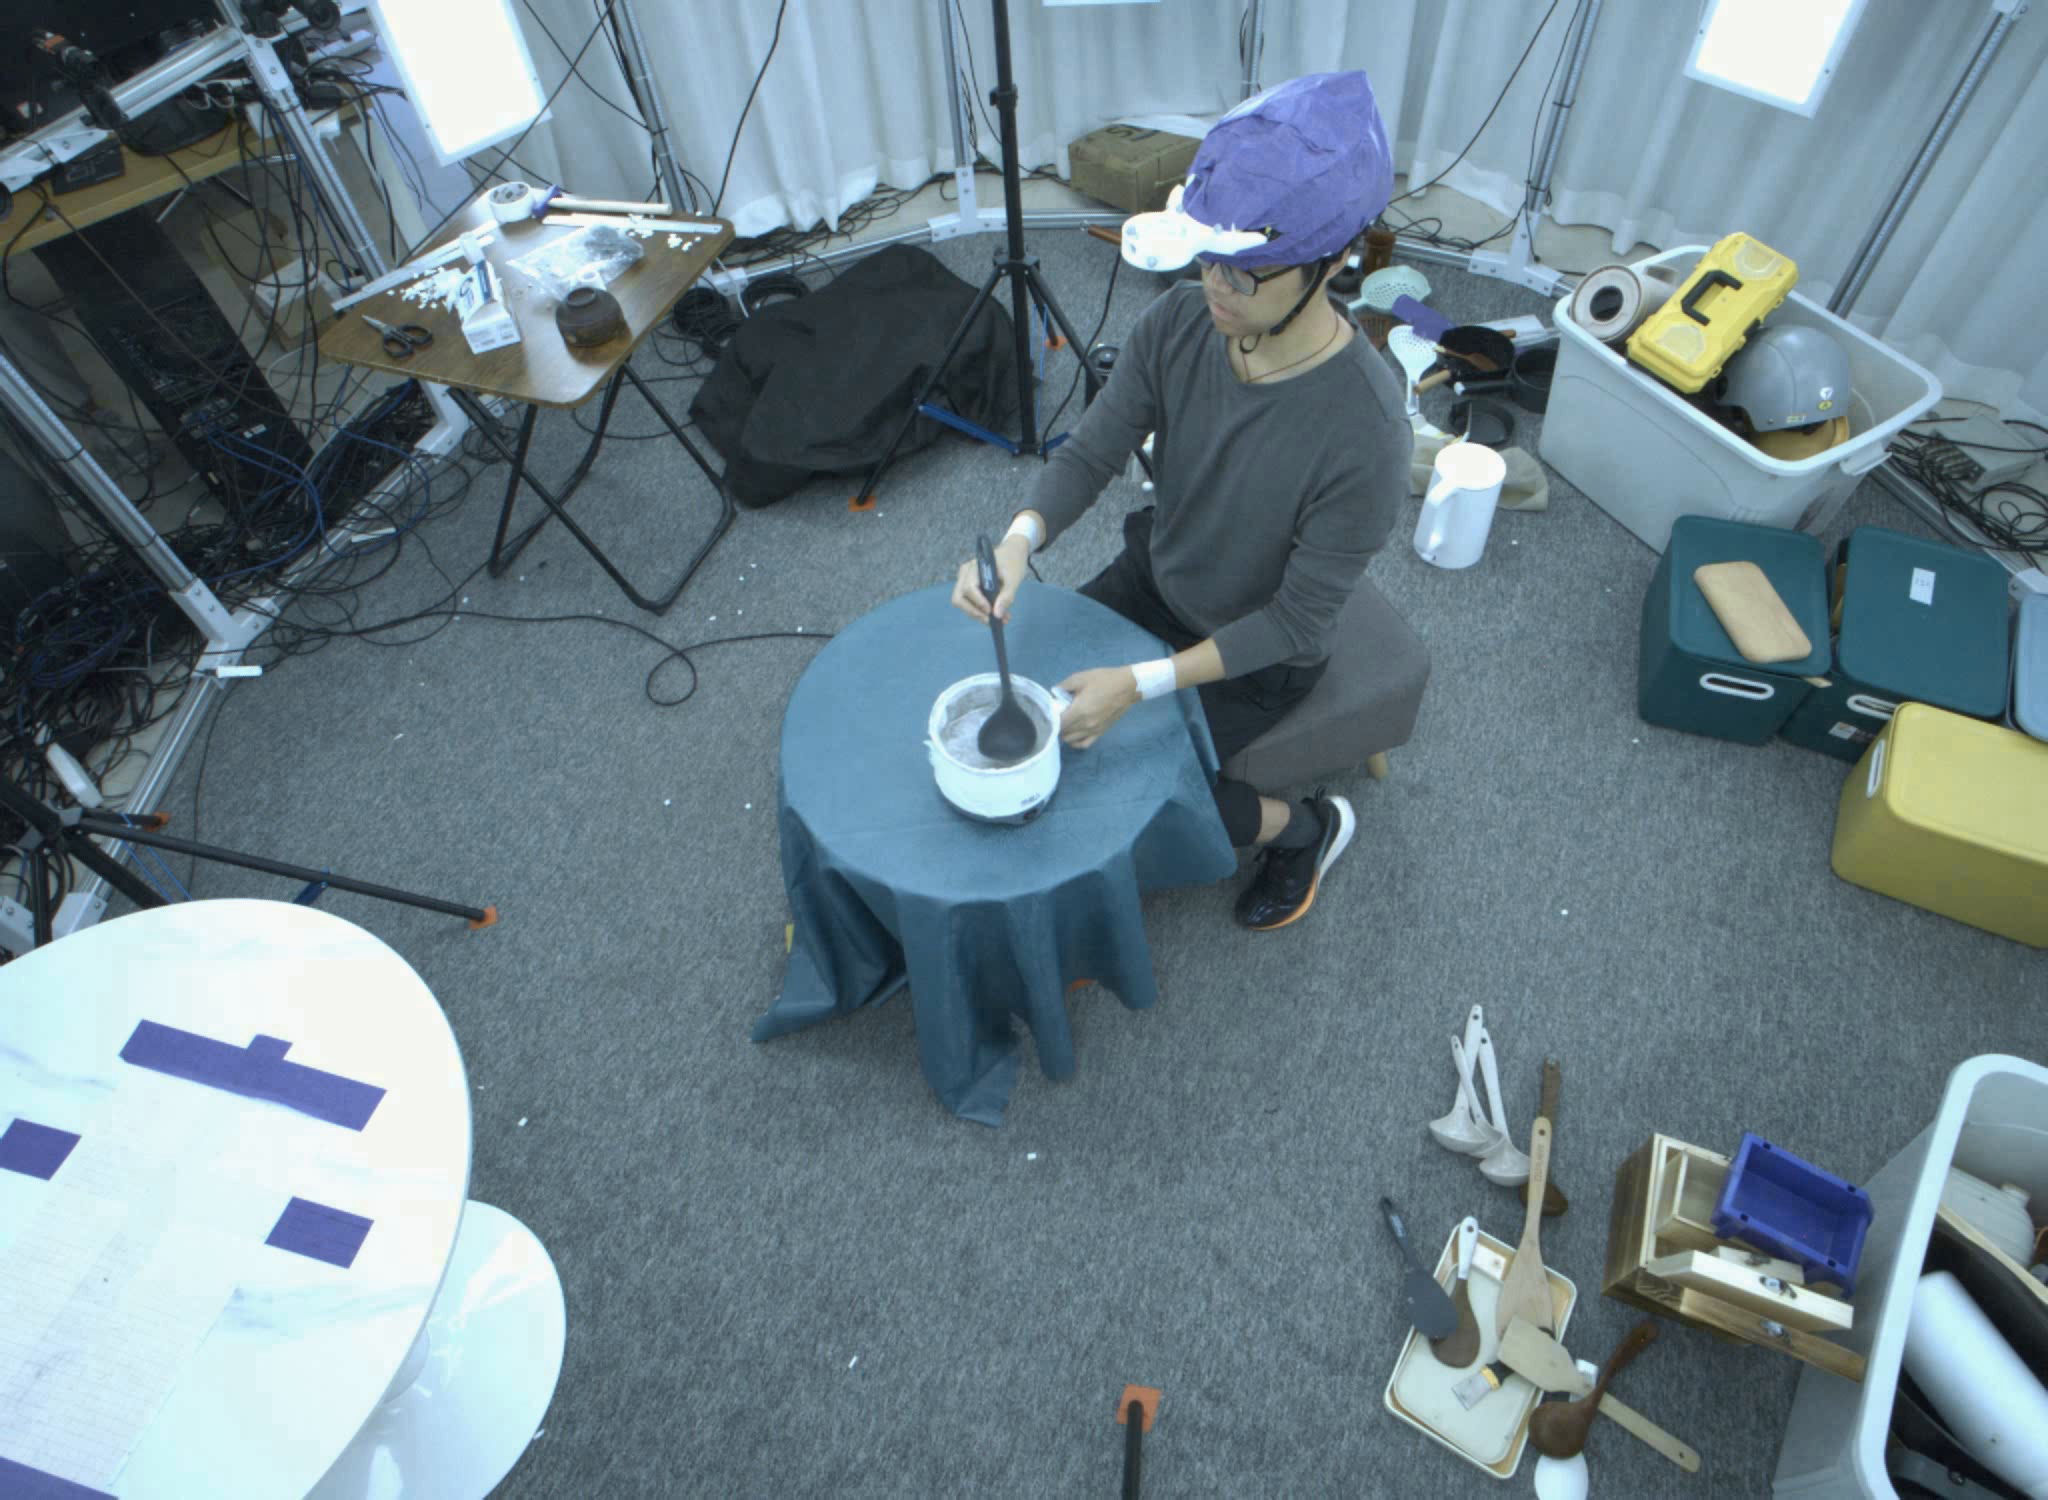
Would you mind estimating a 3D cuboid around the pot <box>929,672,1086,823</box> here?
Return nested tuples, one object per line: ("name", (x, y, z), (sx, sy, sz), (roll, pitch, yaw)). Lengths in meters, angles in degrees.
("pot", (-0.016, -0.013, 1.717), (0.236, 0.138, 0.175), (-28, 58, -21))

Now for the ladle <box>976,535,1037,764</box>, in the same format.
("ladle", (-0.039, -0.128, 1.622), (0.085, 0.317, 0.064), (-1, 31, 12))
